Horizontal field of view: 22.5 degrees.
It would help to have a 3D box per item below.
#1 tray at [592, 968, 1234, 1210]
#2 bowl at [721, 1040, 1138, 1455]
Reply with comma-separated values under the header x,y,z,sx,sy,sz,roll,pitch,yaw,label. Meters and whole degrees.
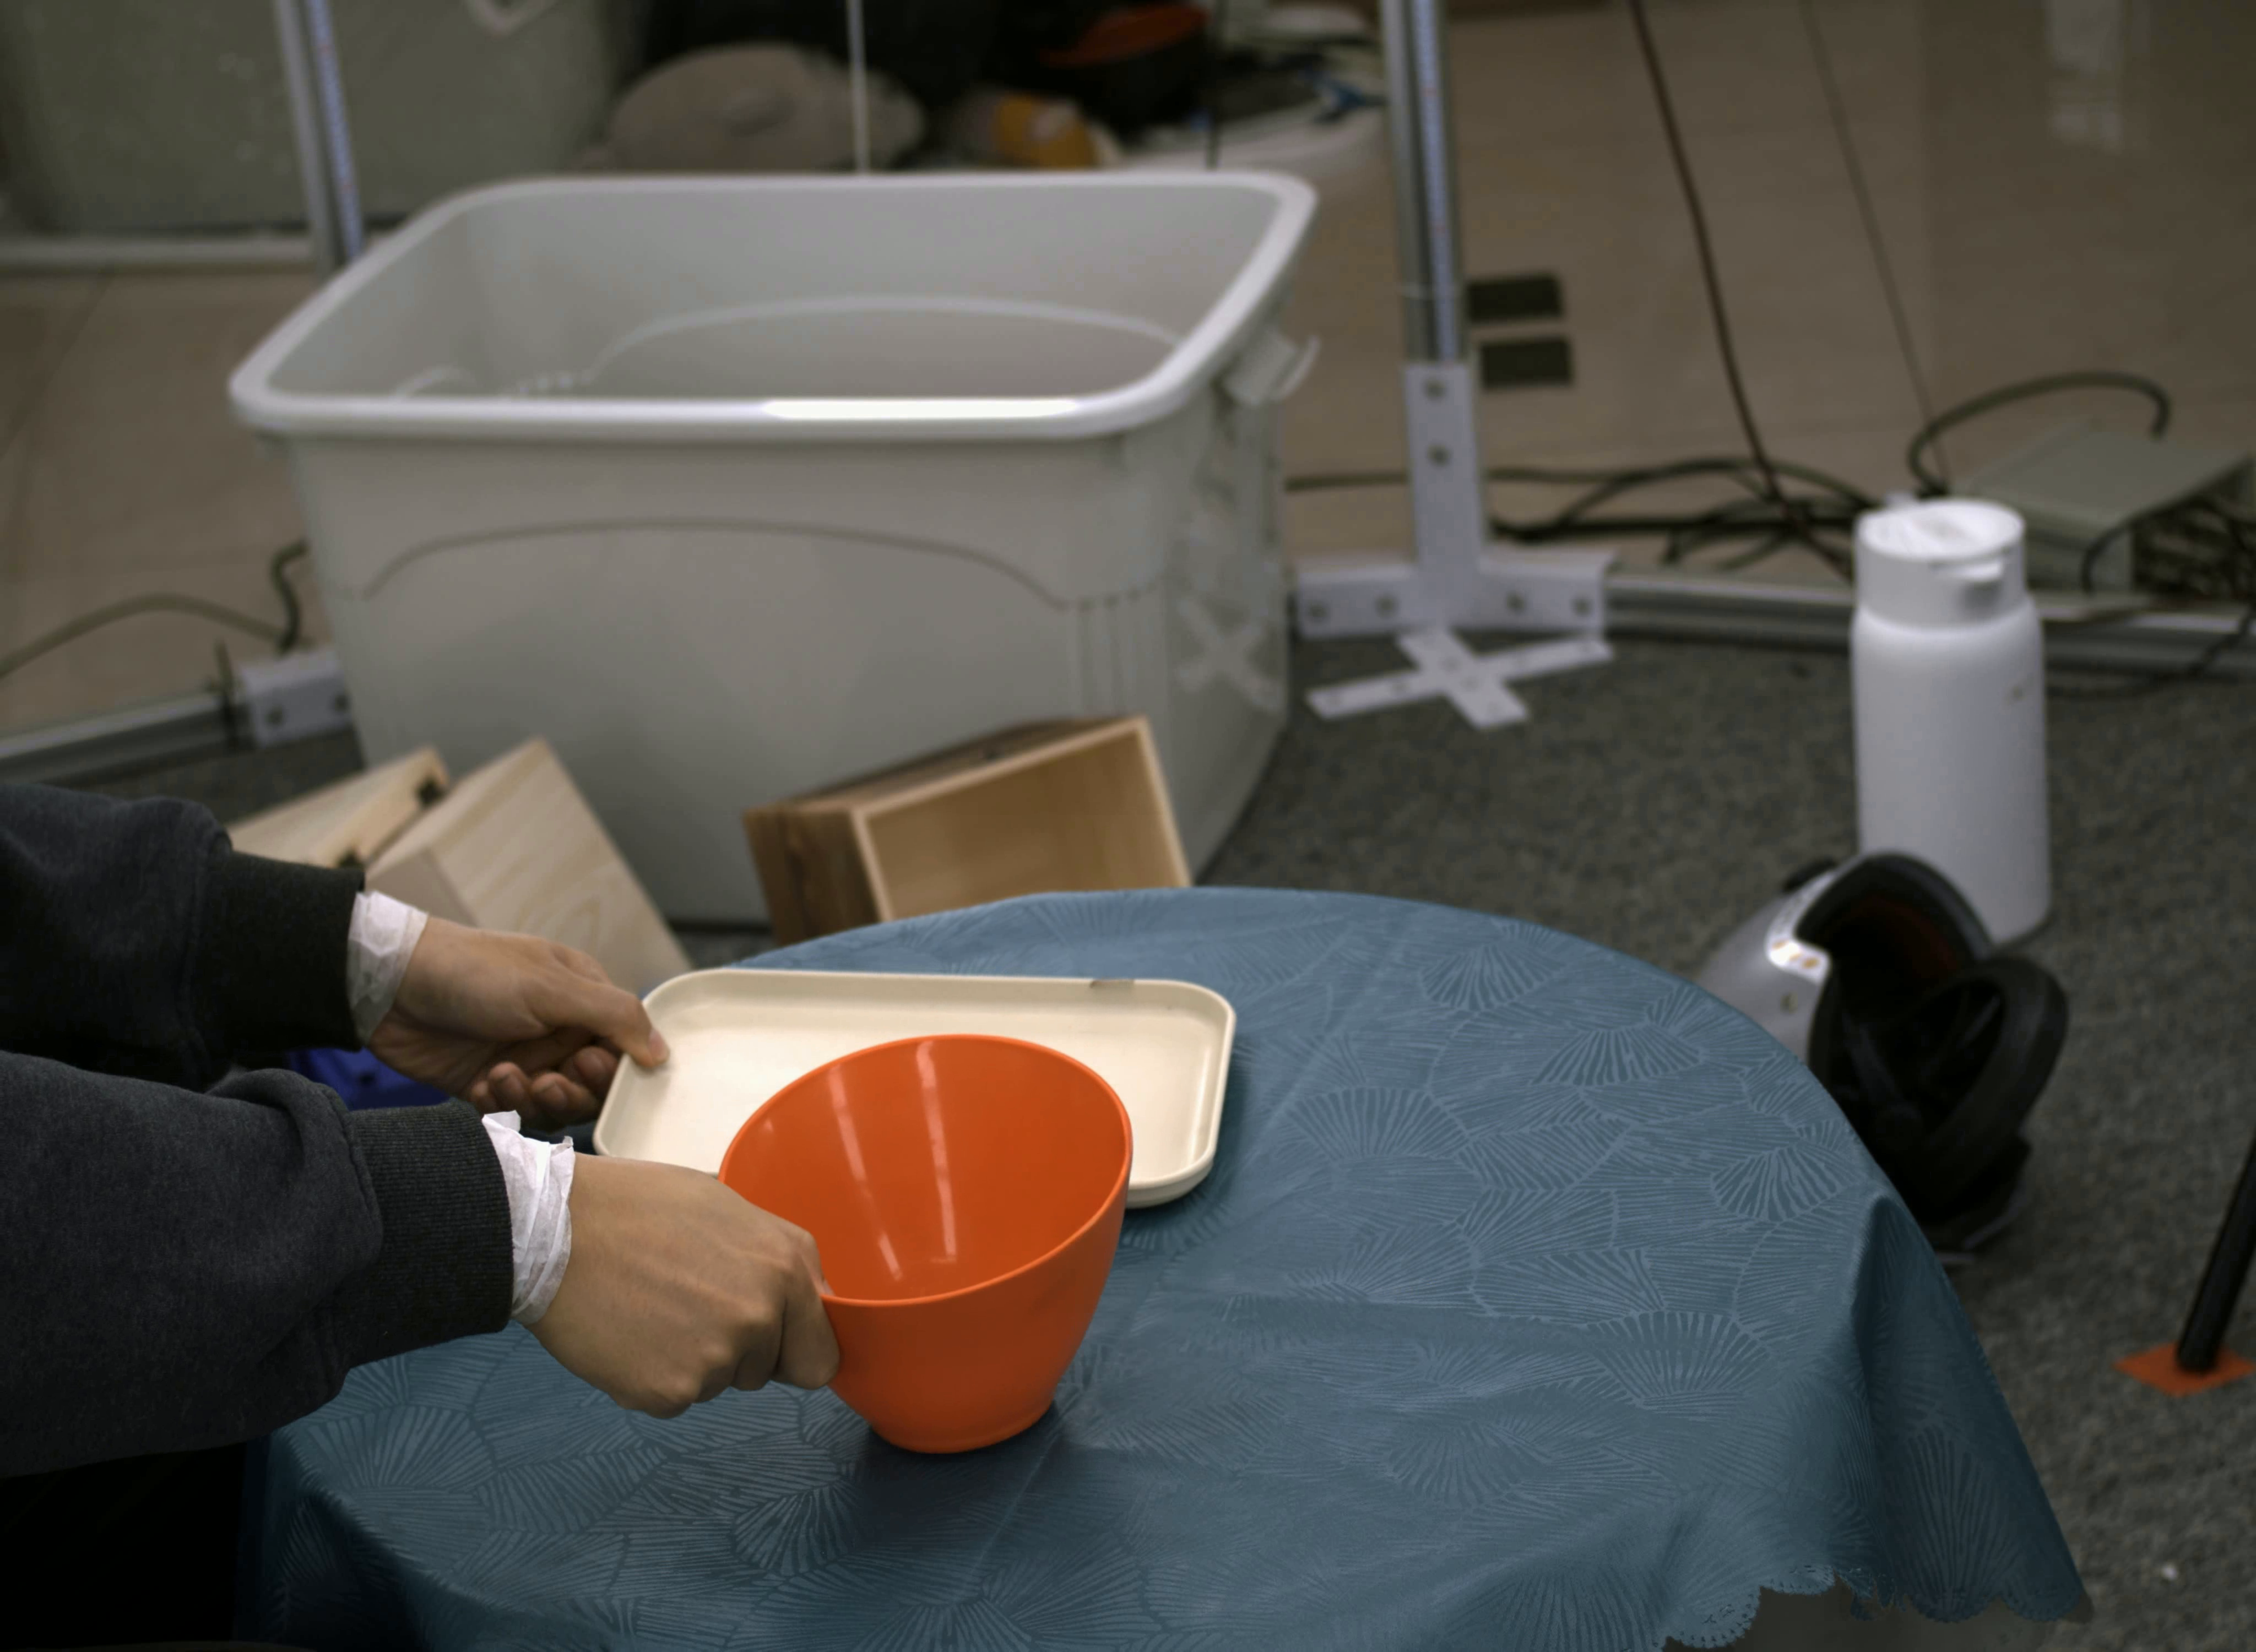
x,y,z,sx,sy,sz,roll,pitch,yaw,label
-0.081,0.102,2.202,0.239,0.018,0.168,2,27,5,tray
-0.065,0.155,2.000,0.148,0.106,0.146,-6,25,3,bowl
